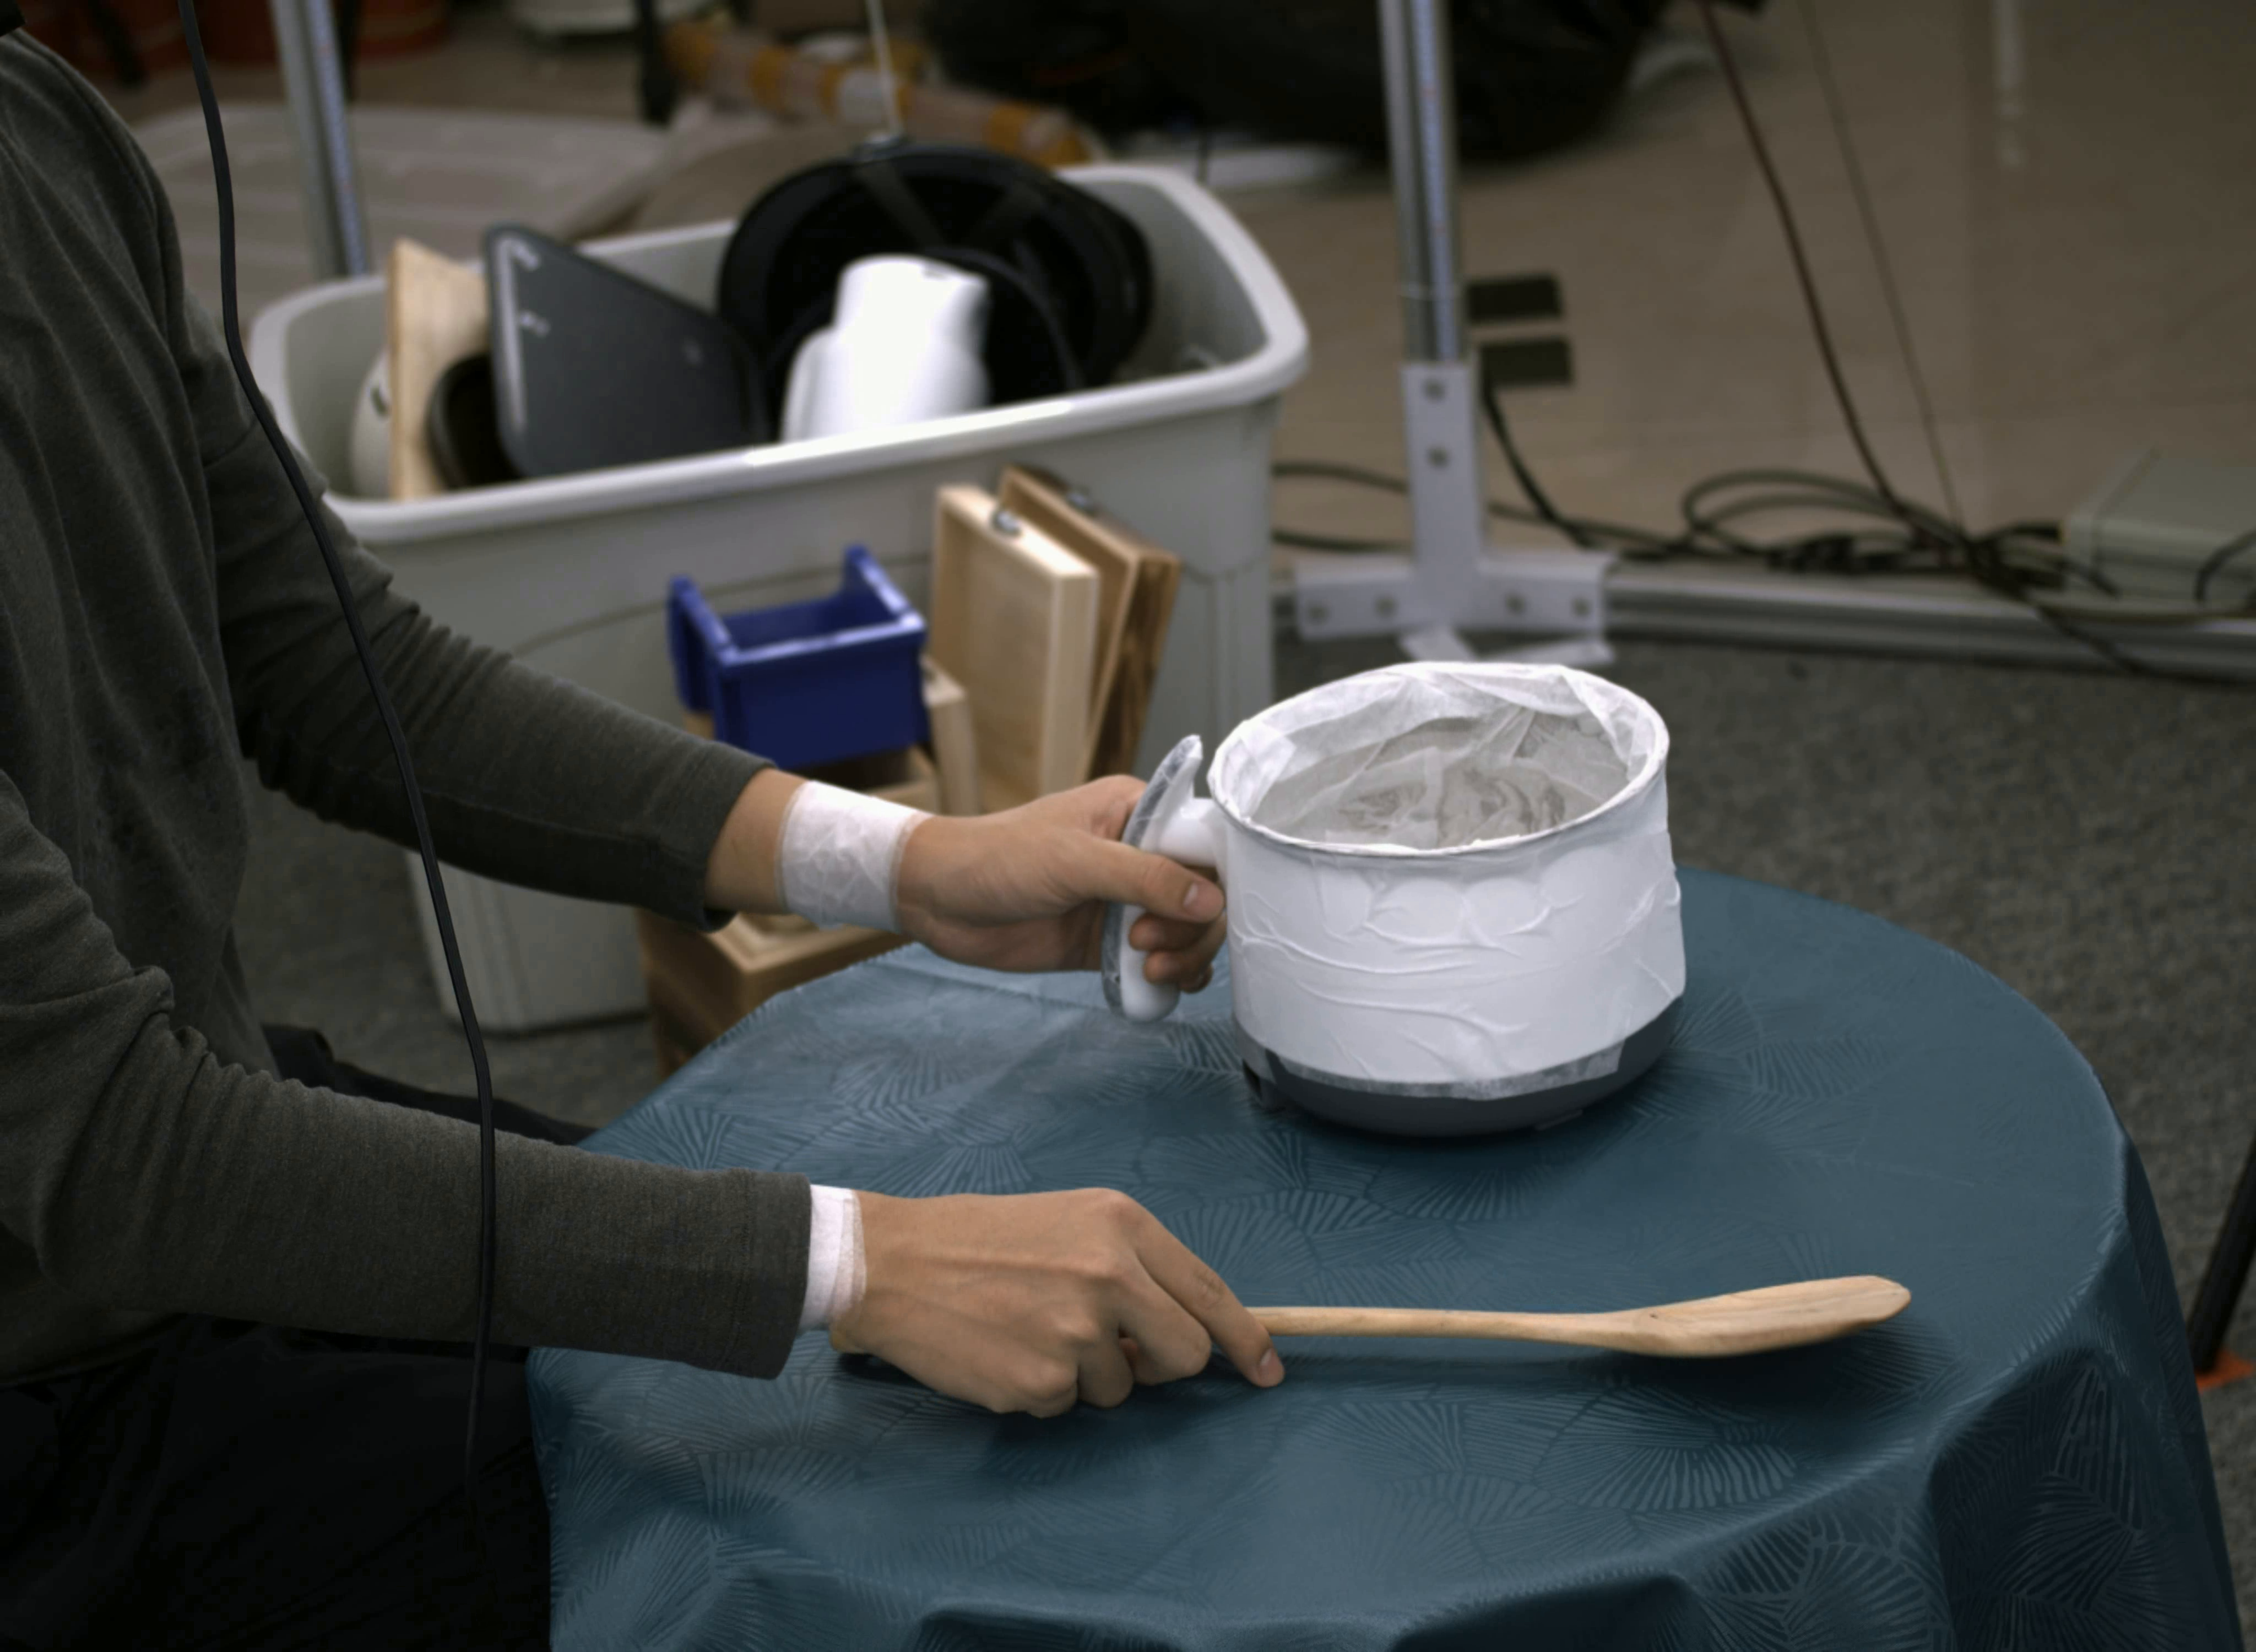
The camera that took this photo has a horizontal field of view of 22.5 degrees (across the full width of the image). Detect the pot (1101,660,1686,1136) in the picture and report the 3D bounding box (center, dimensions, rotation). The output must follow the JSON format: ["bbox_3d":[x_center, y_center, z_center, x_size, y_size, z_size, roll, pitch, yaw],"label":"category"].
[{"bbox_3d":[0.099,0.029,2.198,0.233,0.139,0.176,1,26,17],"label":"pot"}]

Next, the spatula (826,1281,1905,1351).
[{"bbox_3d":[0.078,0.175,2.007,0.390,0.018,0.095,-2,1,14],"label":"spatula"}]
